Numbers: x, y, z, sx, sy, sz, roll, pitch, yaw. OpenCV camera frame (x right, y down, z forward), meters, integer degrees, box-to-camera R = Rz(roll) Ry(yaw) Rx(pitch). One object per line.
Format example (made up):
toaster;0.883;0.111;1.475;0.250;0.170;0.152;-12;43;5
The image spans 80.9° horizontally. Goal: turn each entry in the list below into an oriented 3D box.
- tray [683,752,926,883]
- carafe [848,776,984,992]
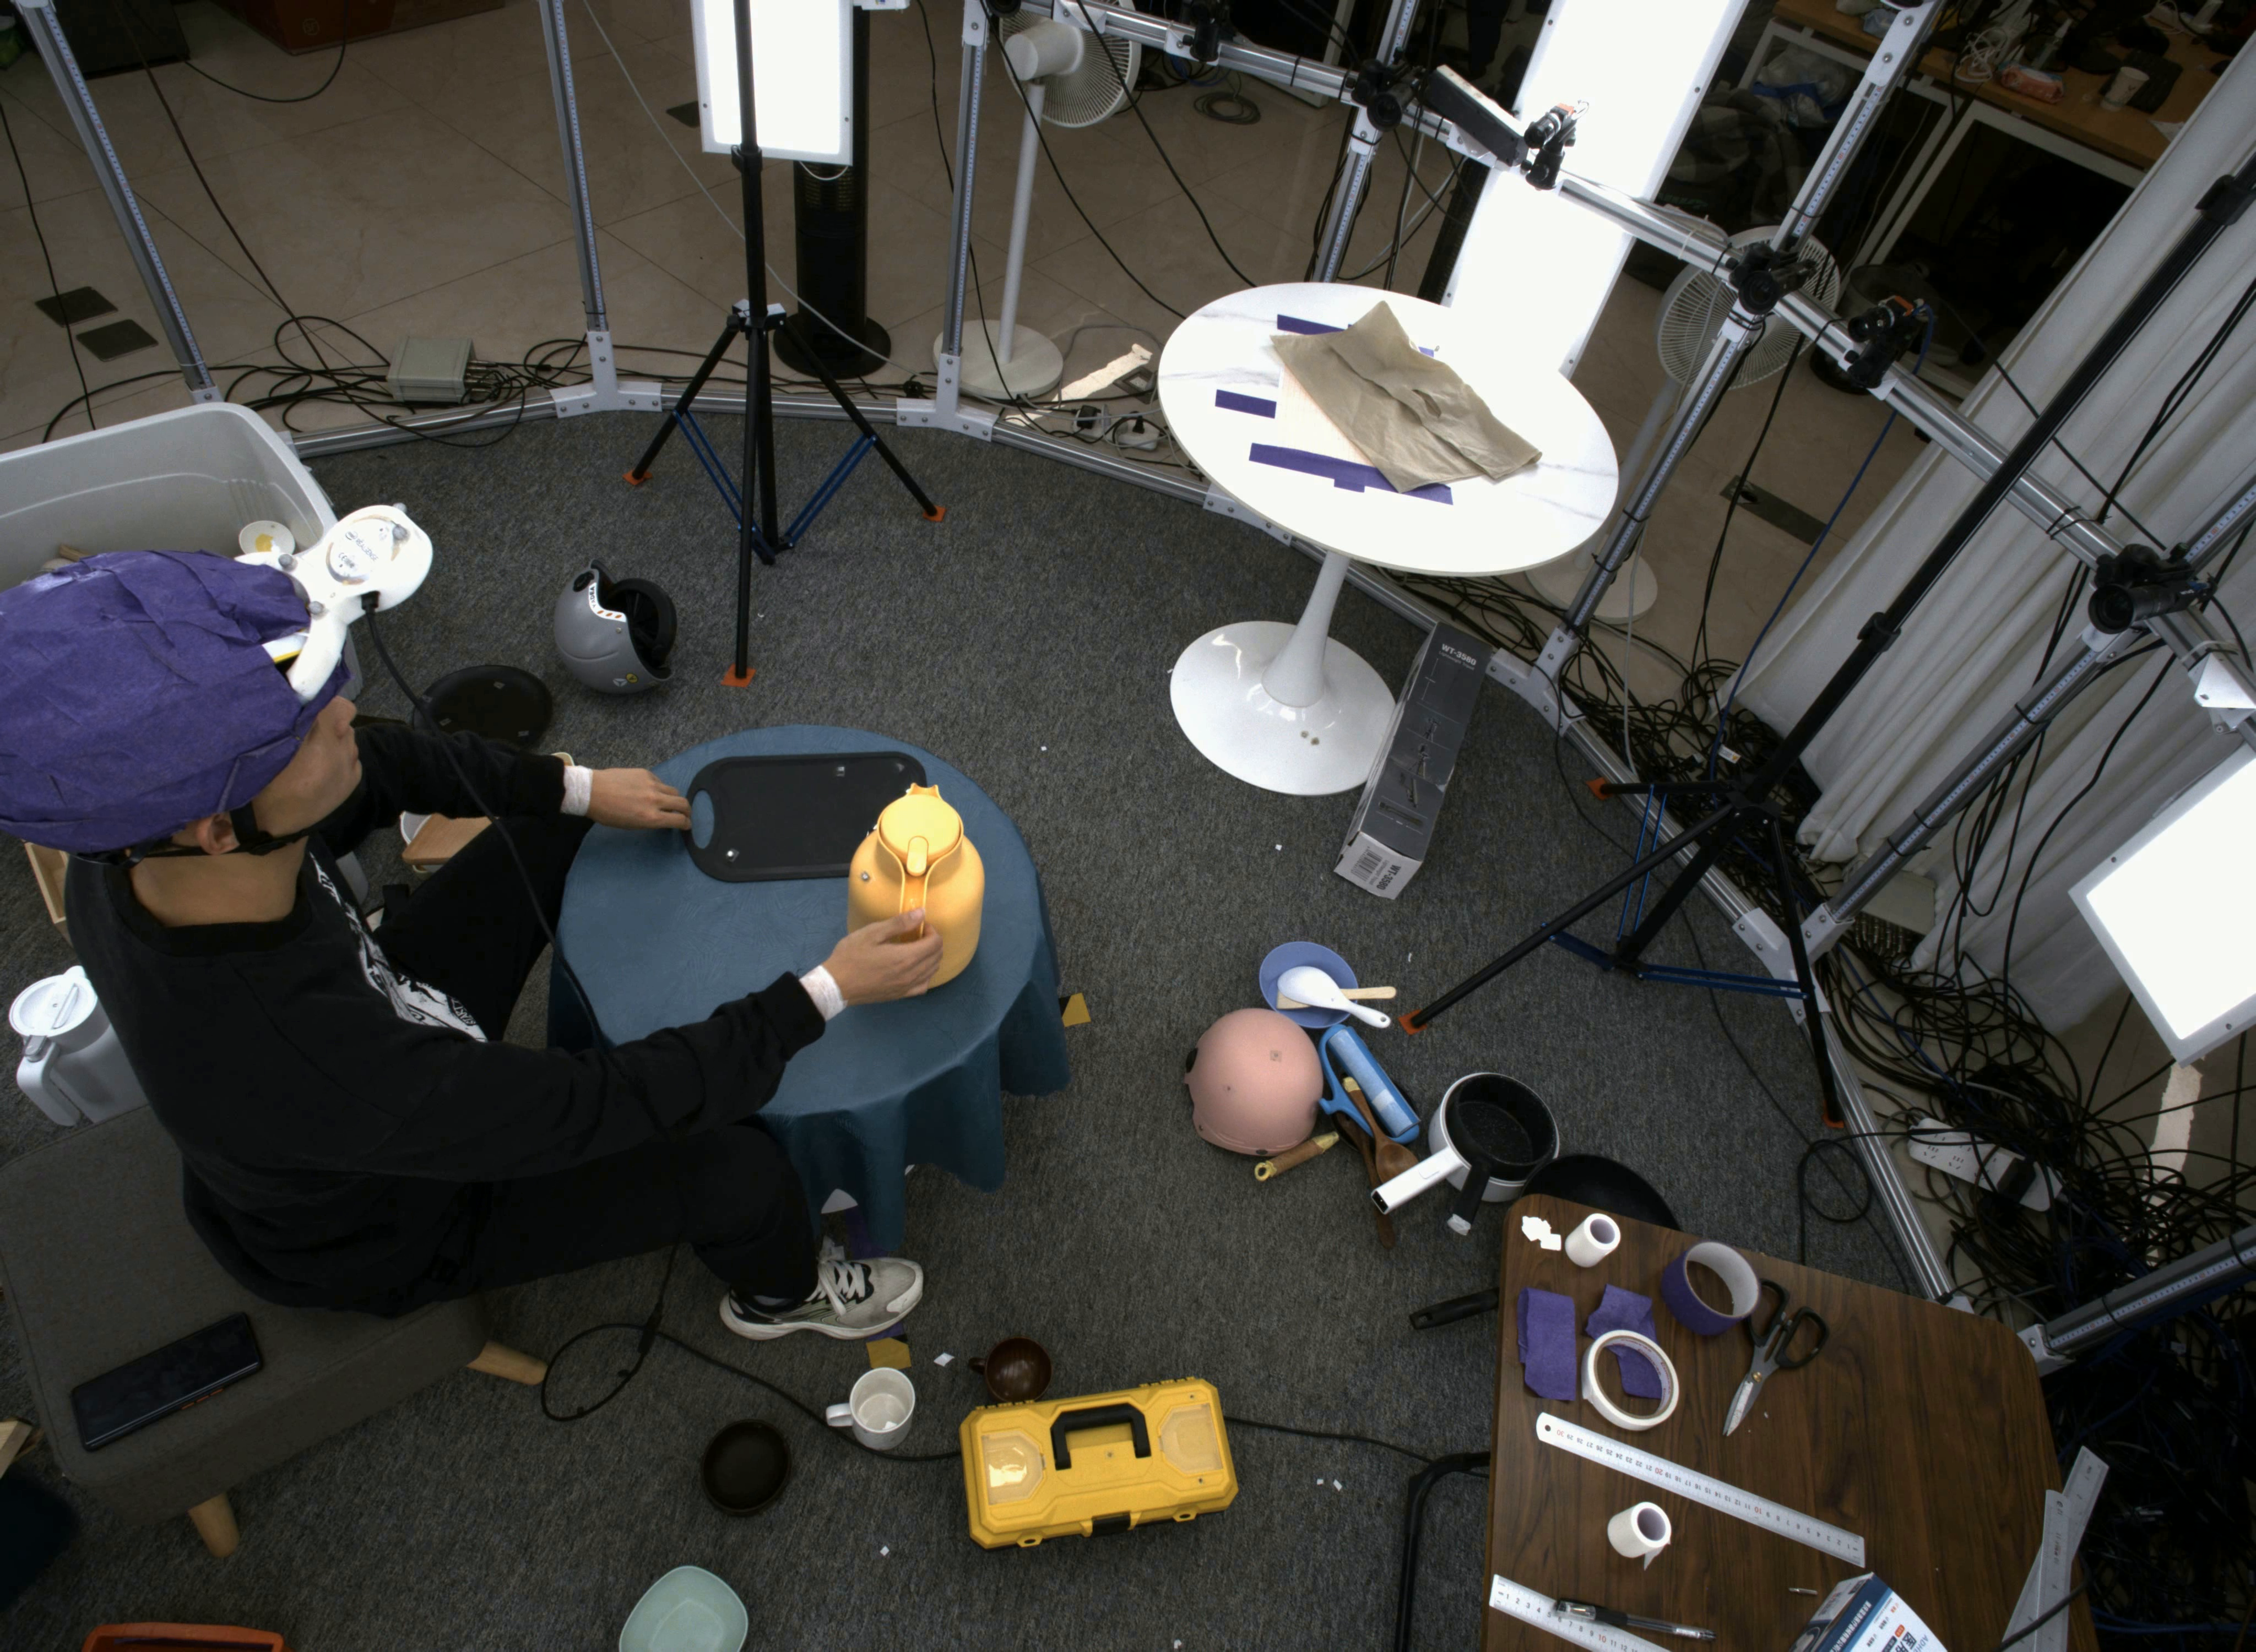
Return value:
tray;-0.427;-0.017;1.729;0.326;0.010;0.206;-2;54;-16
carafe;-0.253;0.083;1.534;0.162;0.267;0.198;5;50;-5
